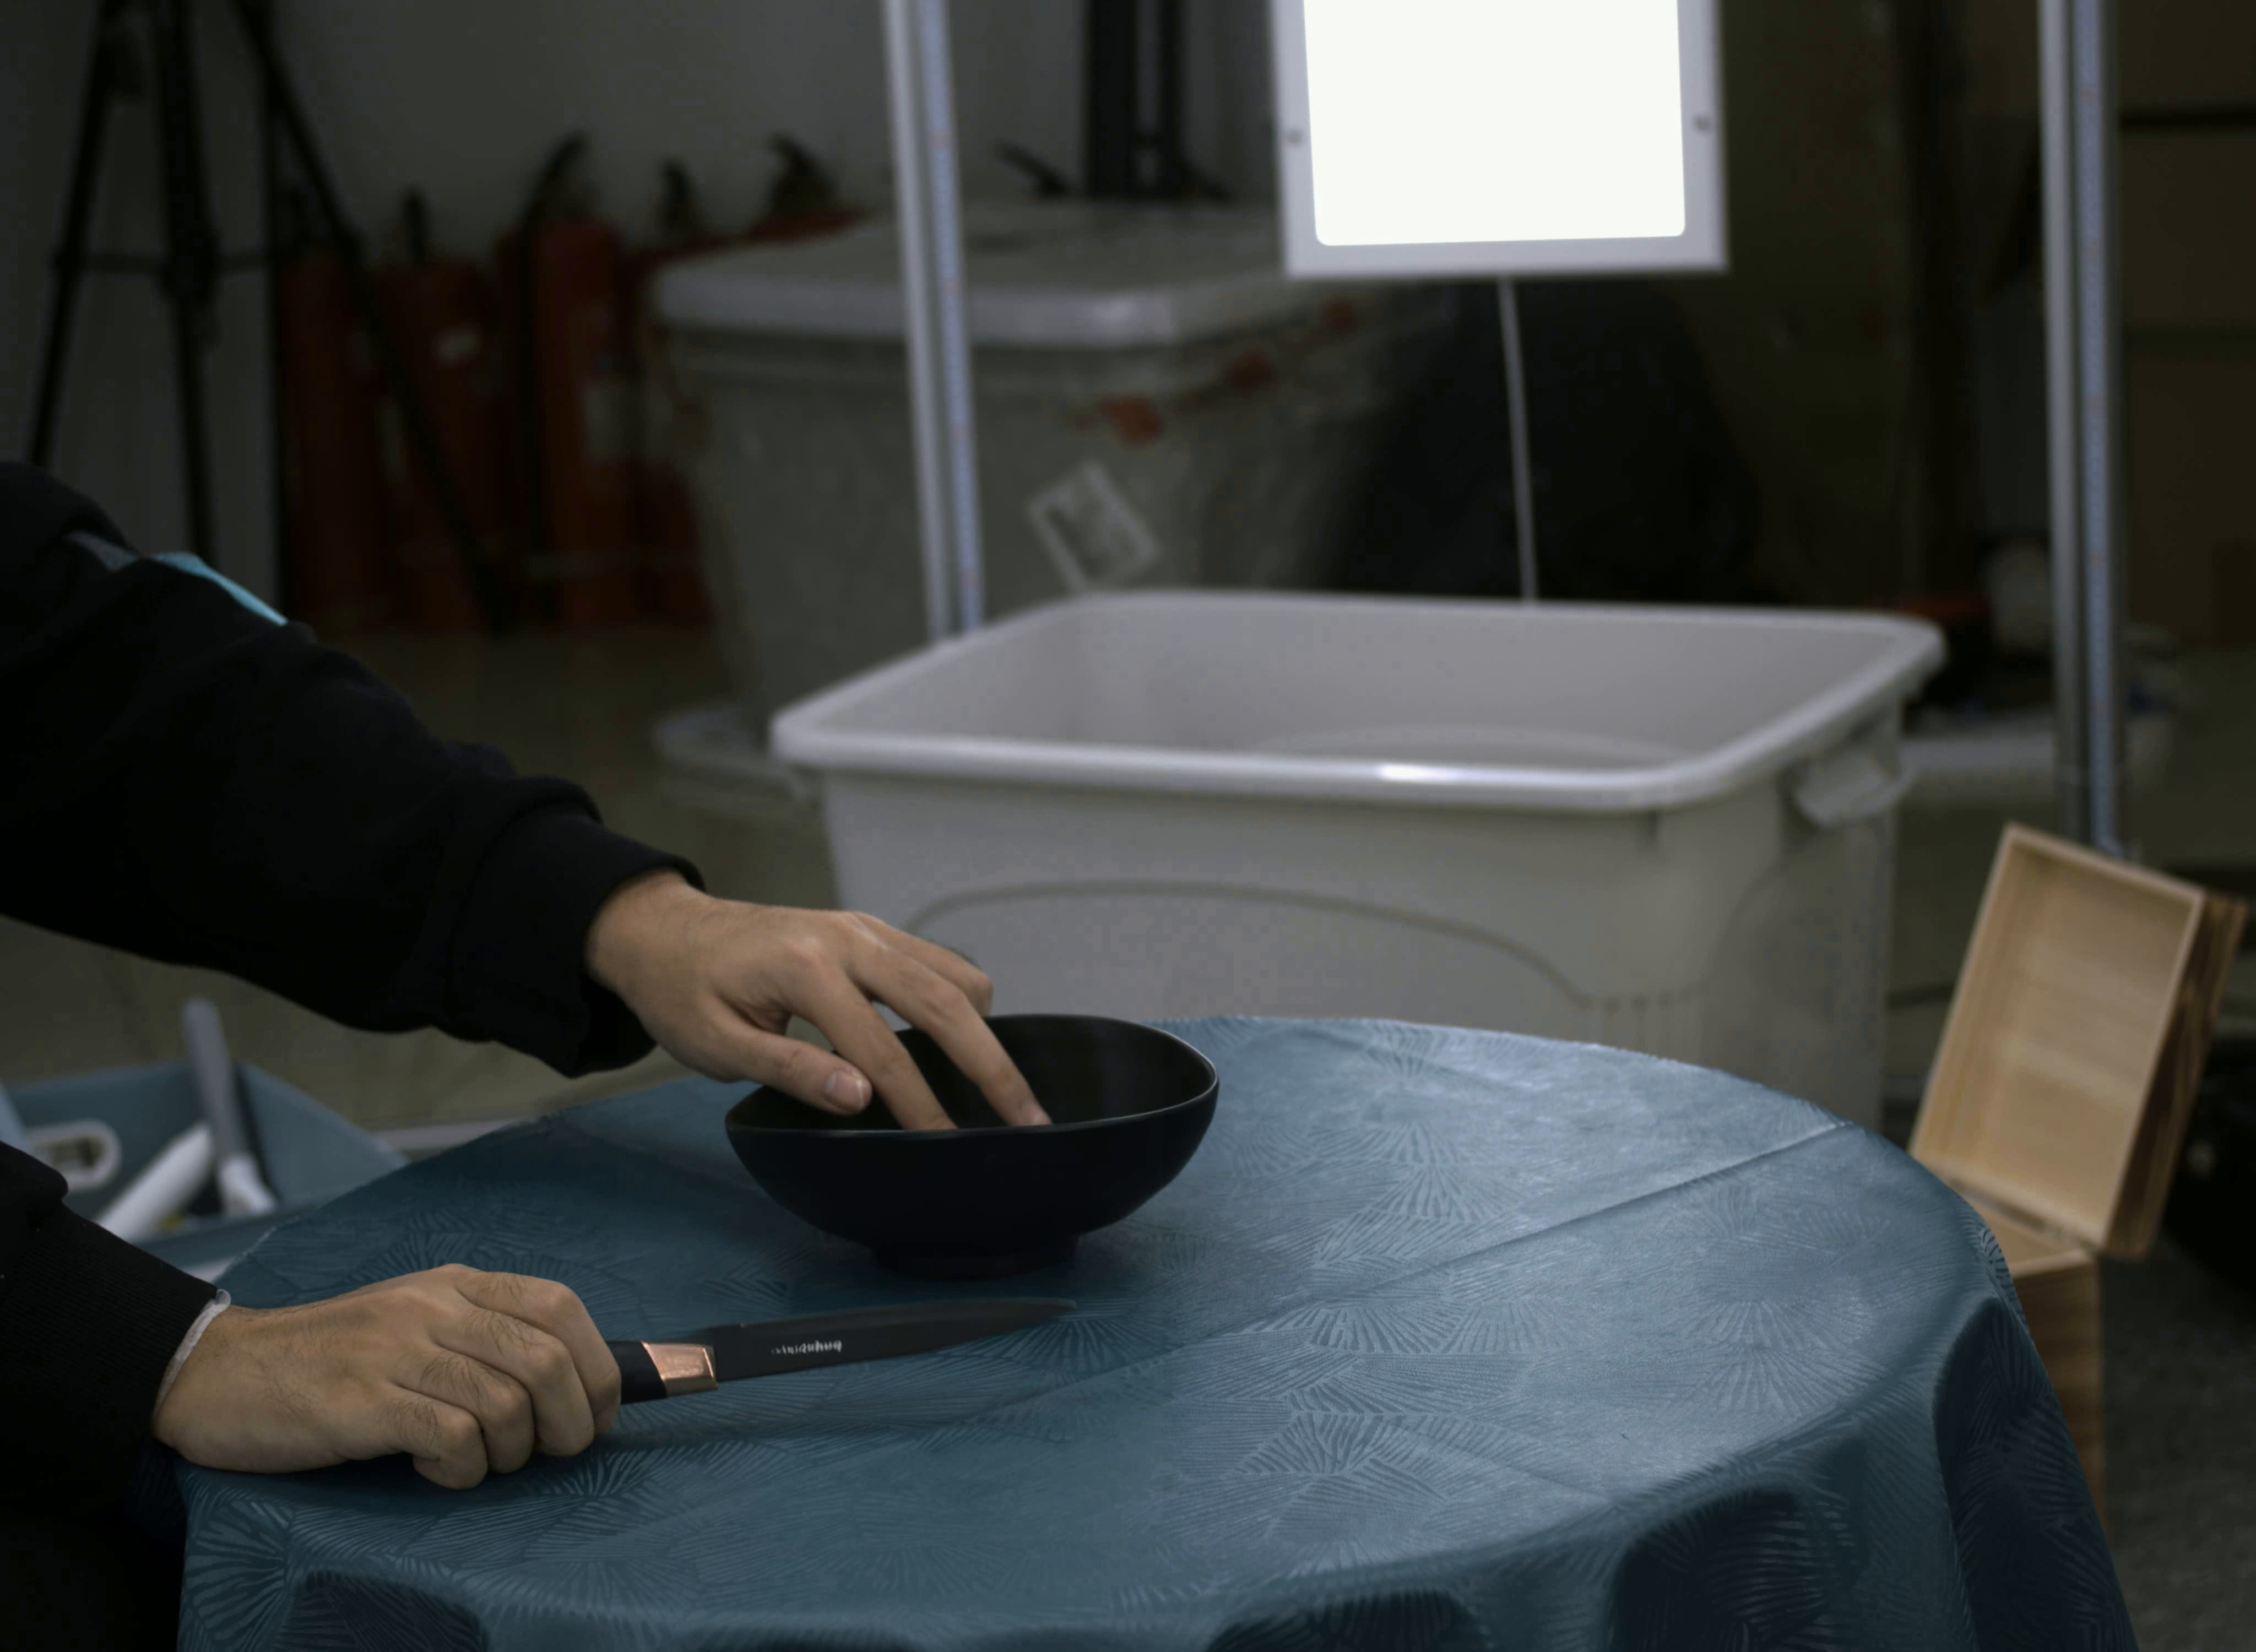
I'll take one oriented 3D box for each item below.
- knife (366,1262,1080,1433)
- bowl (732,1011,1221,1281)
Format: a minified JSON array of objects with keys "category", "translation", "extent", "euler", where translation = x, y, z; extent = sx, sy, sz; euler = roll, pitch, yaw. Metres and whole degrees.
[{"category":"knife","translation":[-0.125,0.161,1.700],"extent":[0.226,0.017,0.026],"euler":[-10,53,5]},{"category":"bowl","translation":[-0.050,0.112,1.840],"extent":[0.172,0.067,0.135],"euler":[-3,13,16]}]
